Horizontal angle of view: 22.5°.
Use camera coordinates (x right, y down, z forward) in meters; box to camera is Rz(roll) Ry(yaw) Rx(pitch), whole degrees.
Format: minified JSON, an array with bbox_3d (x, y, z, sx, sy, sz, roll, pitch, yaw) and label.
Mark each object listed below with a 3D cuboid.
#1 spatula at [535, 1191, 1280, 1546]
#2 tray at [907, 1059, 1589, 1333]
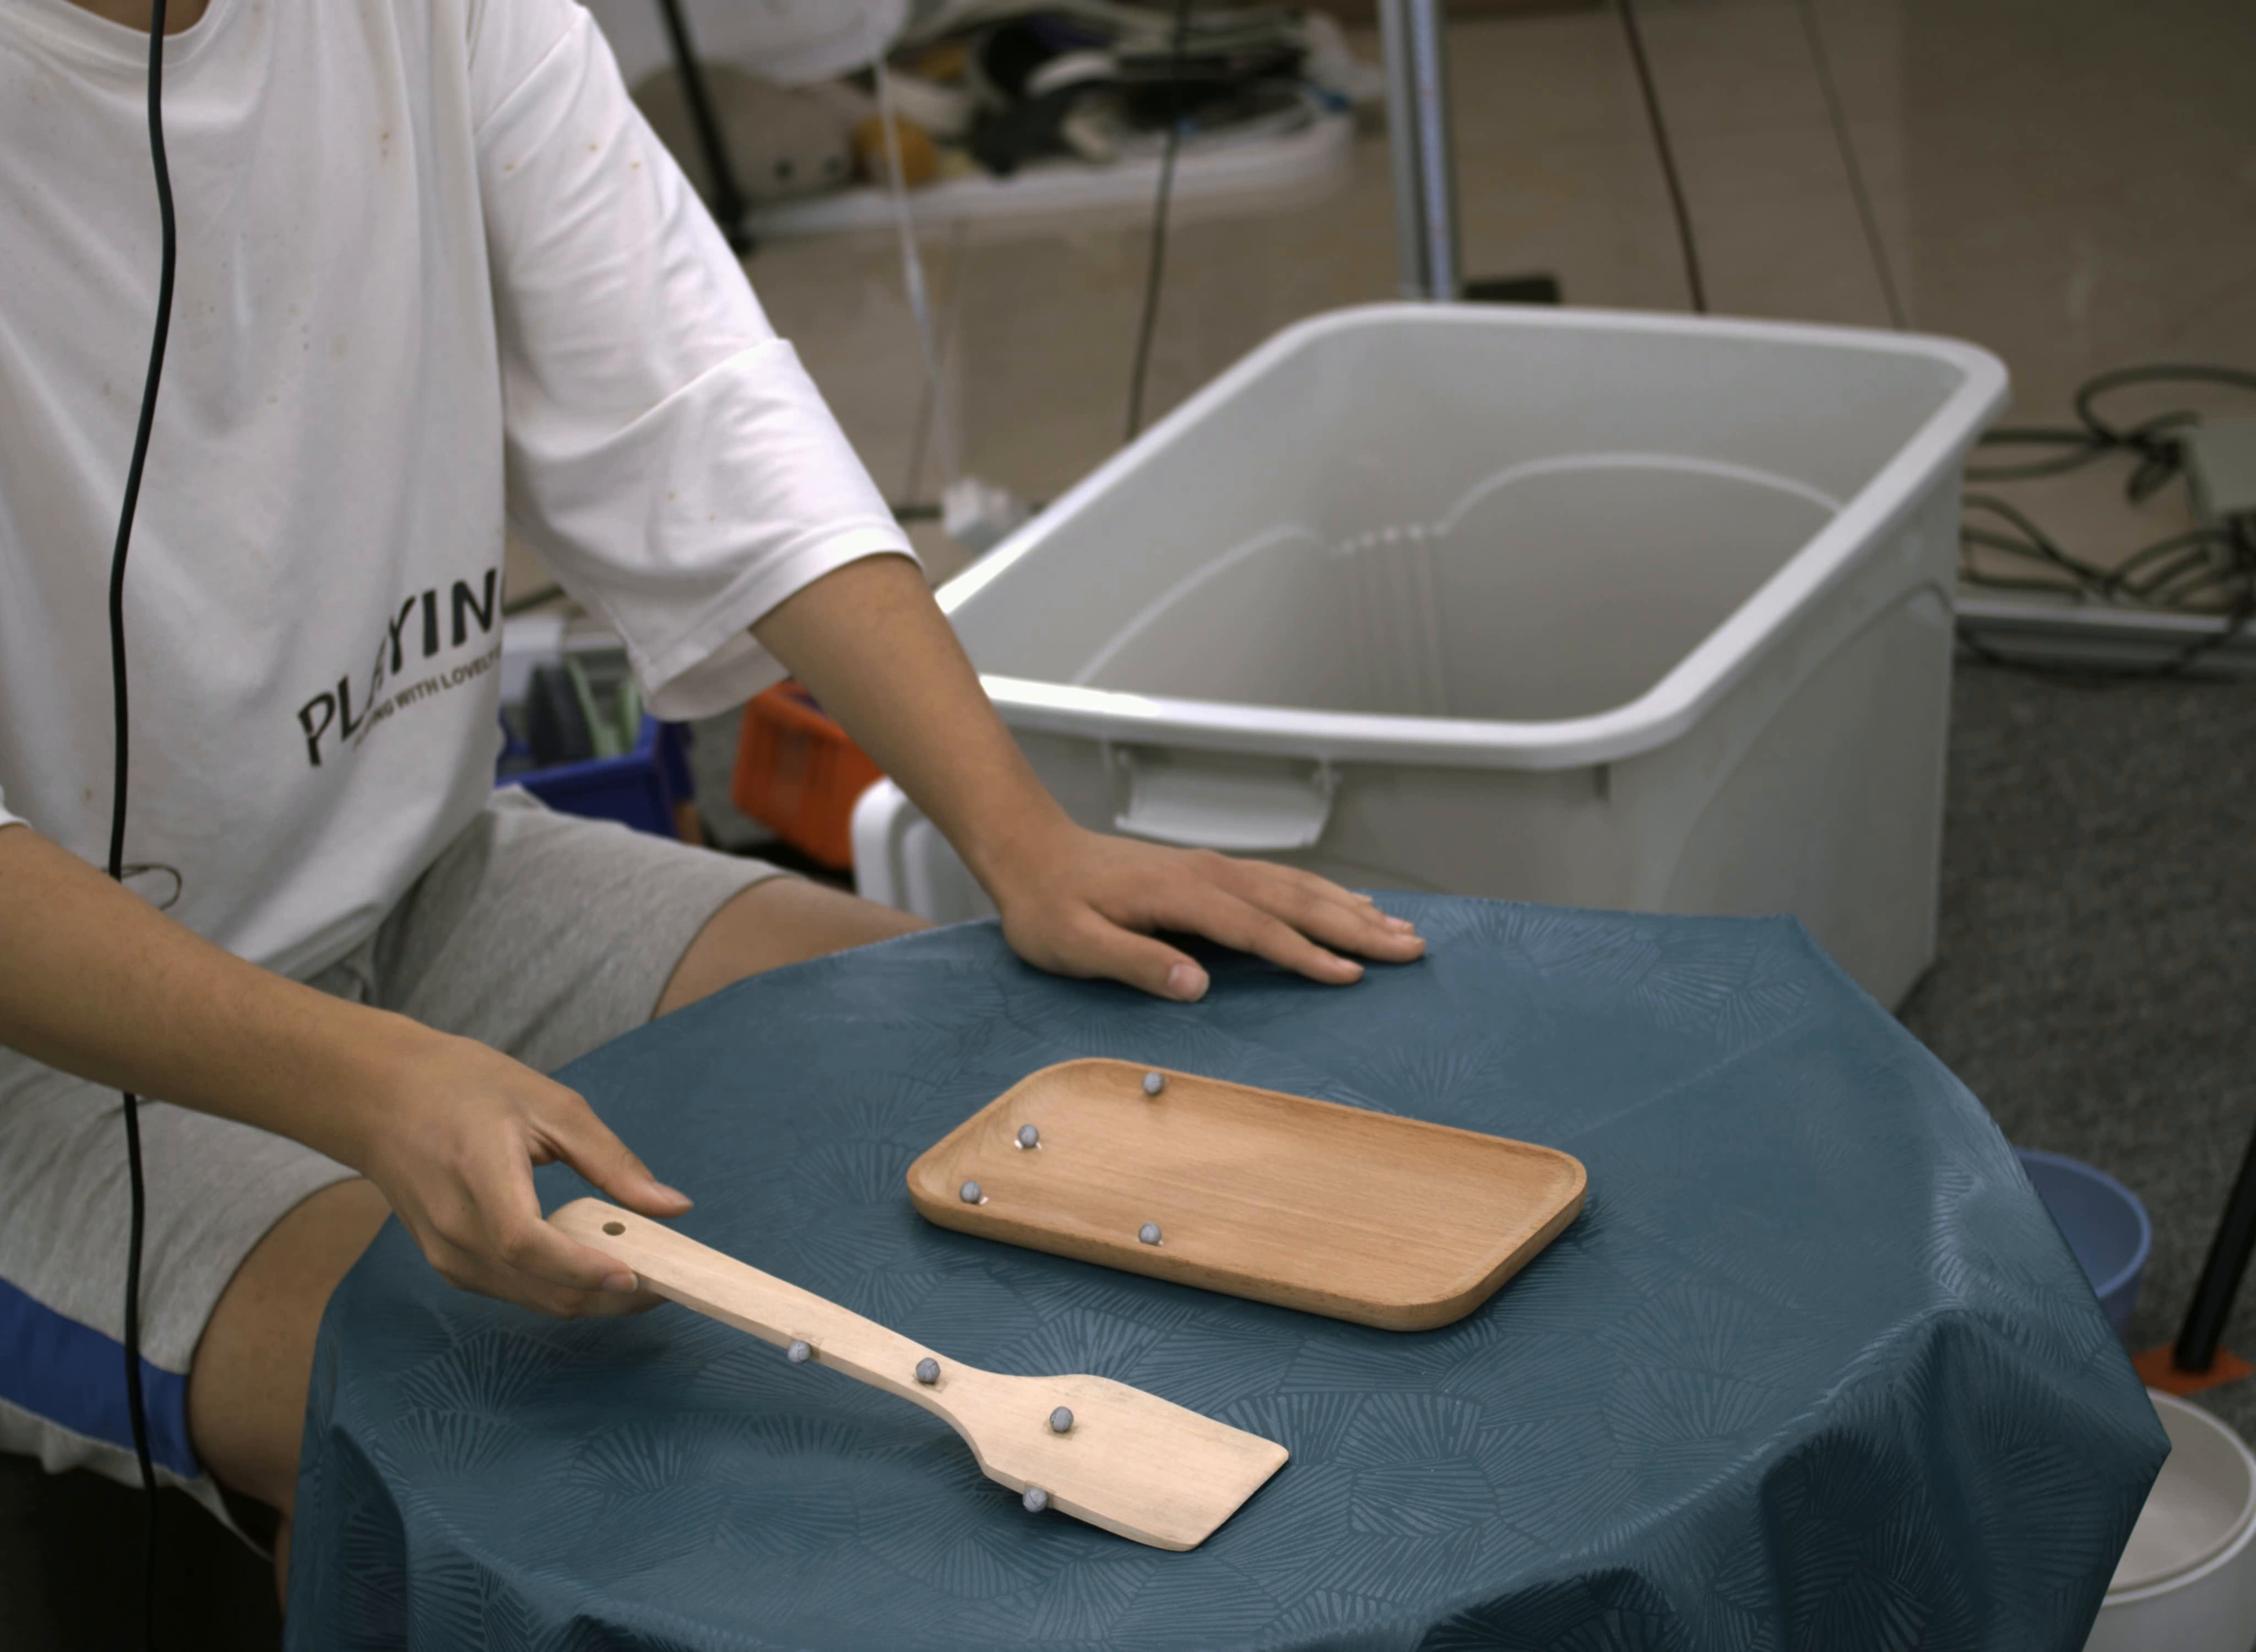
[{"bbox_3d":[-0.087,0.186,1.997,0.291,0.011,0.071,20,35,24],"label":"spatula"},{"bbox_3d":[0.044,0.137,2.121,0.249,0.023,0.129,12,33,34],"label":"tray"}]
